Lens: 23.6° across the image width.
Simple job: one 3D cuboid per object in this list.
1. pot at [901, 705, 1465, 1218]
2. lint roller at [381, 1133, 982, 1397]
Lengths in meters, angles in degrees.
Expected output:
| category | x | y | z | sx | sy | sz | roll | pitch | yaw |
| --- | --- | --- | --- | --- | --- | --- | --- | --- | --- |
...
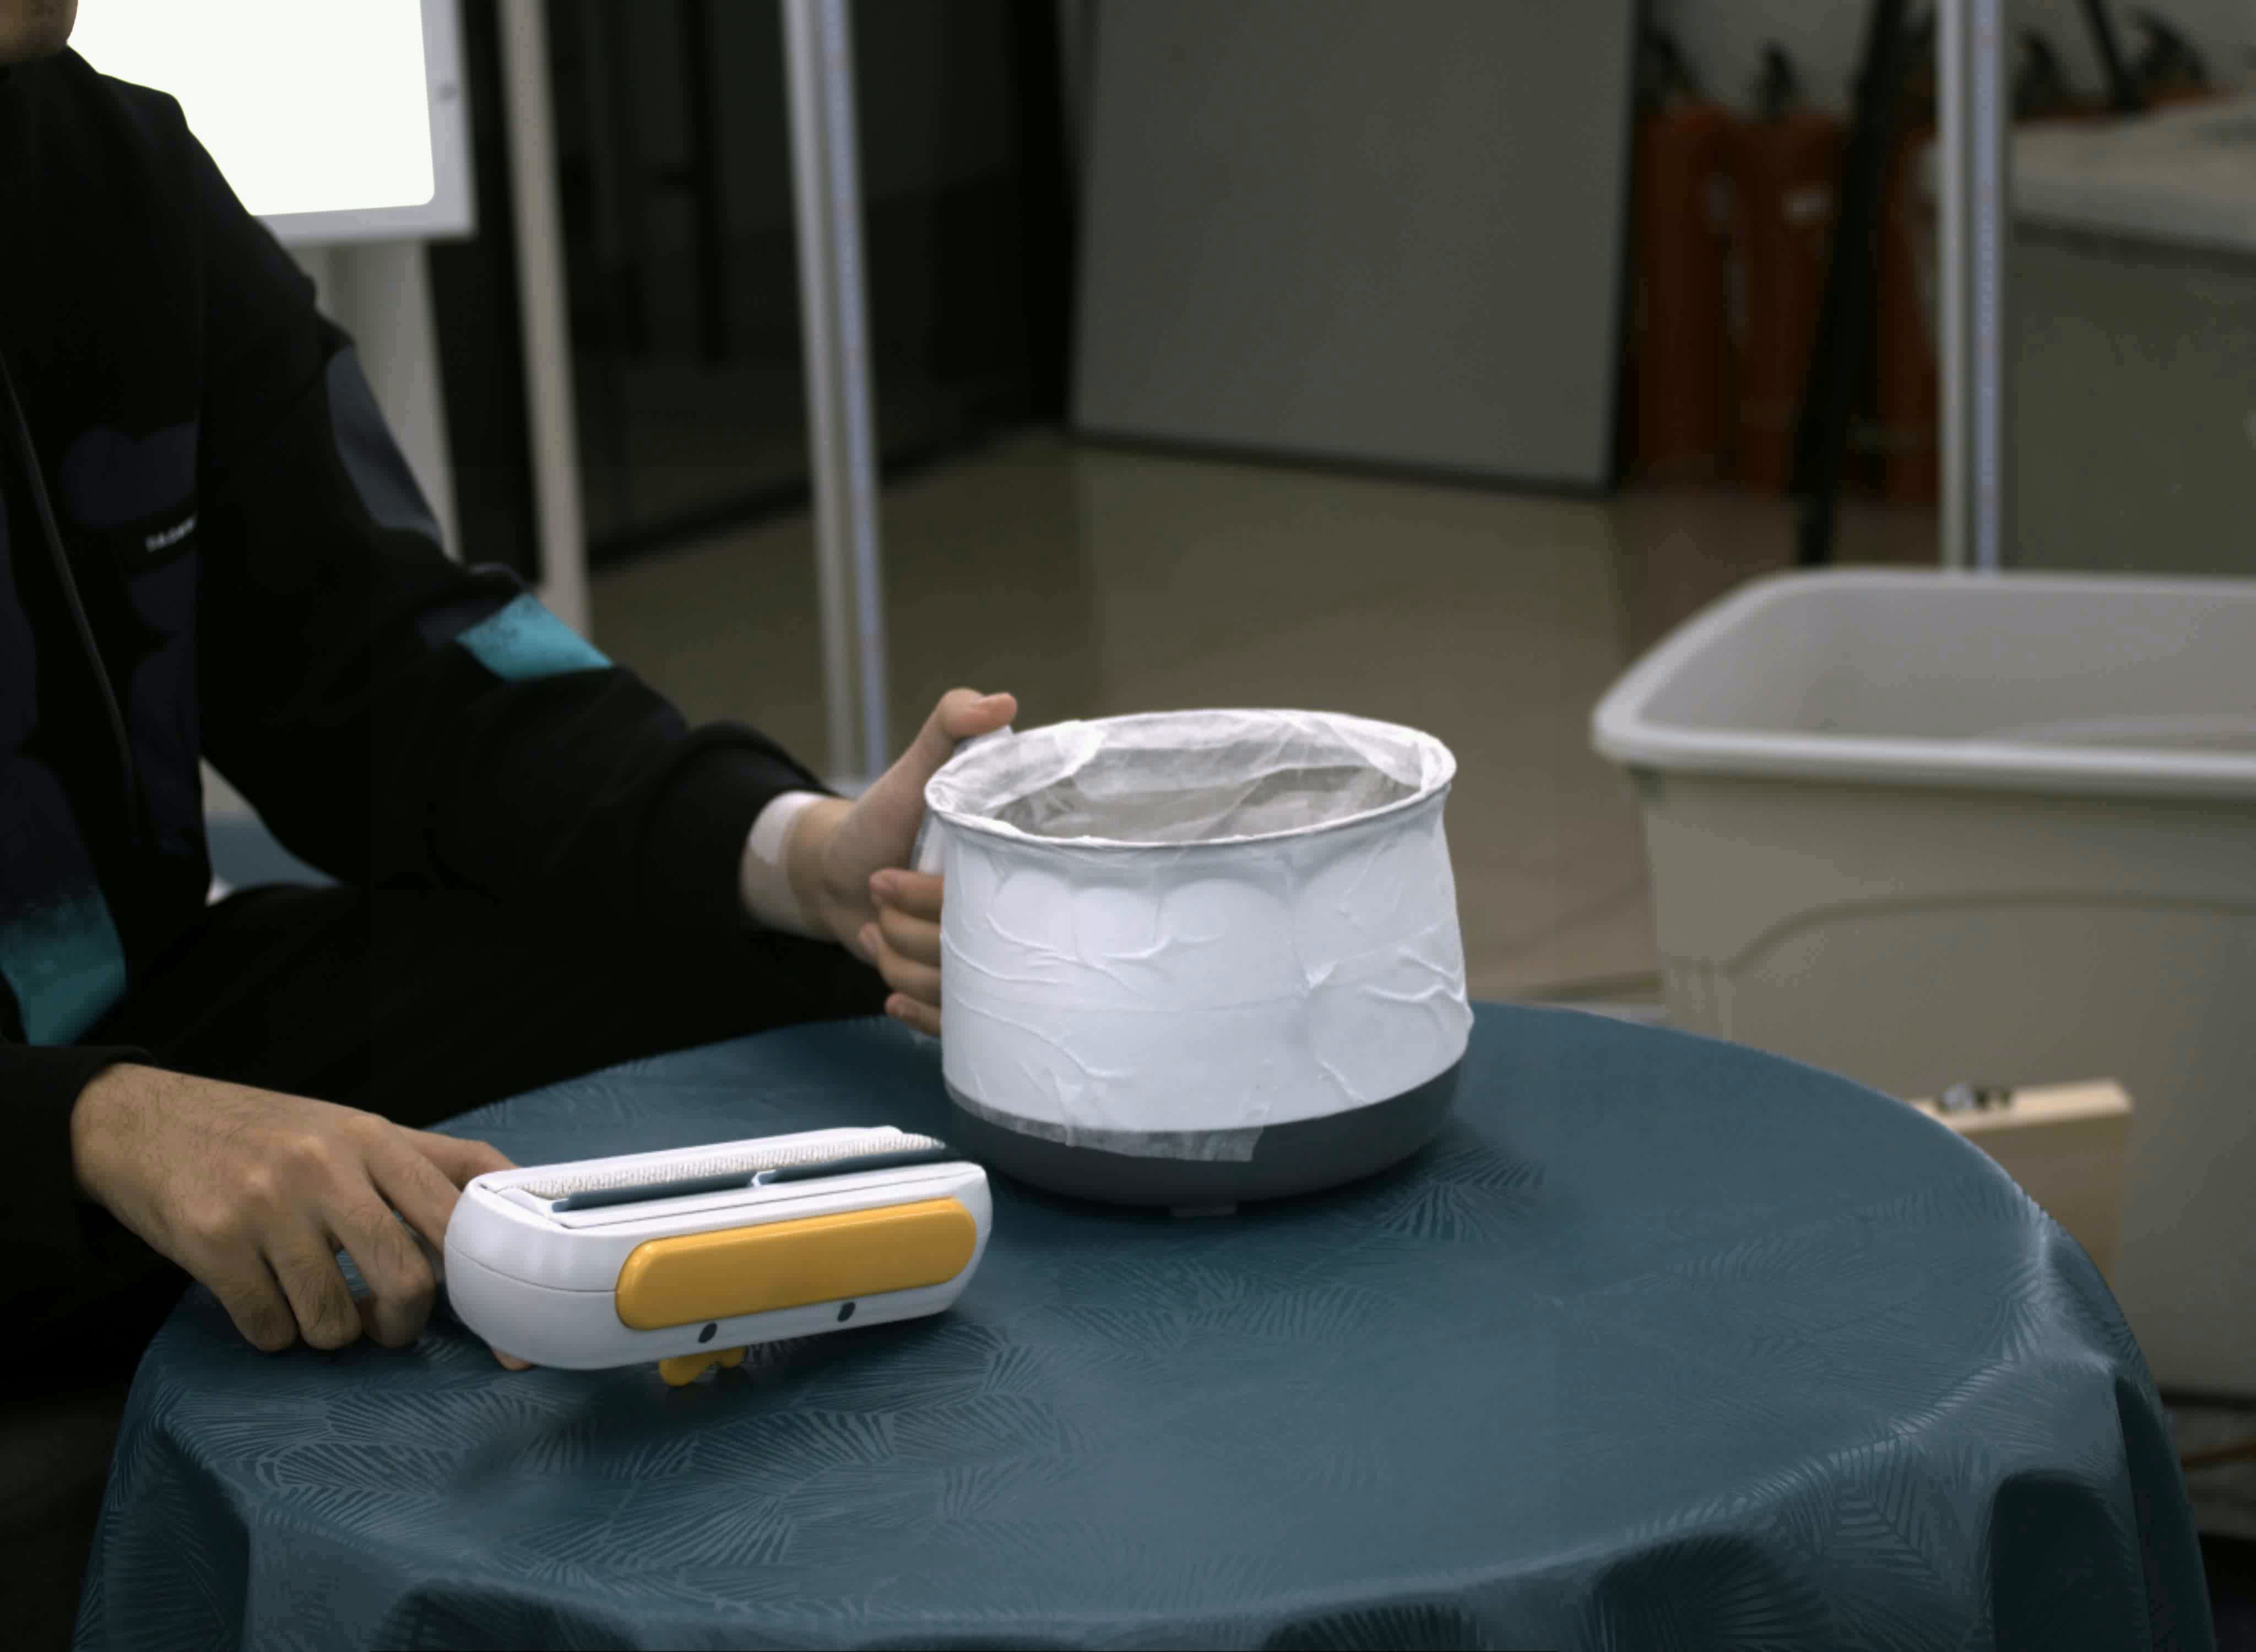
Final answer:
| category | x | y | z | sx | sy | sz | roll | pitch | yaw |
| --- | --- | --- | --- | --- | --- | --- | --- | --- | --- |
| pot | 0.005 | 0.039 | 1.810 | 0.175 | 0.138 | 0.236 | -14 | 18 | -41 |
| lint roller | -0.165 | 0.127 | 1.656 | 0.188 | 0.075 | 0.194 | -9 | 12 | -41 |
